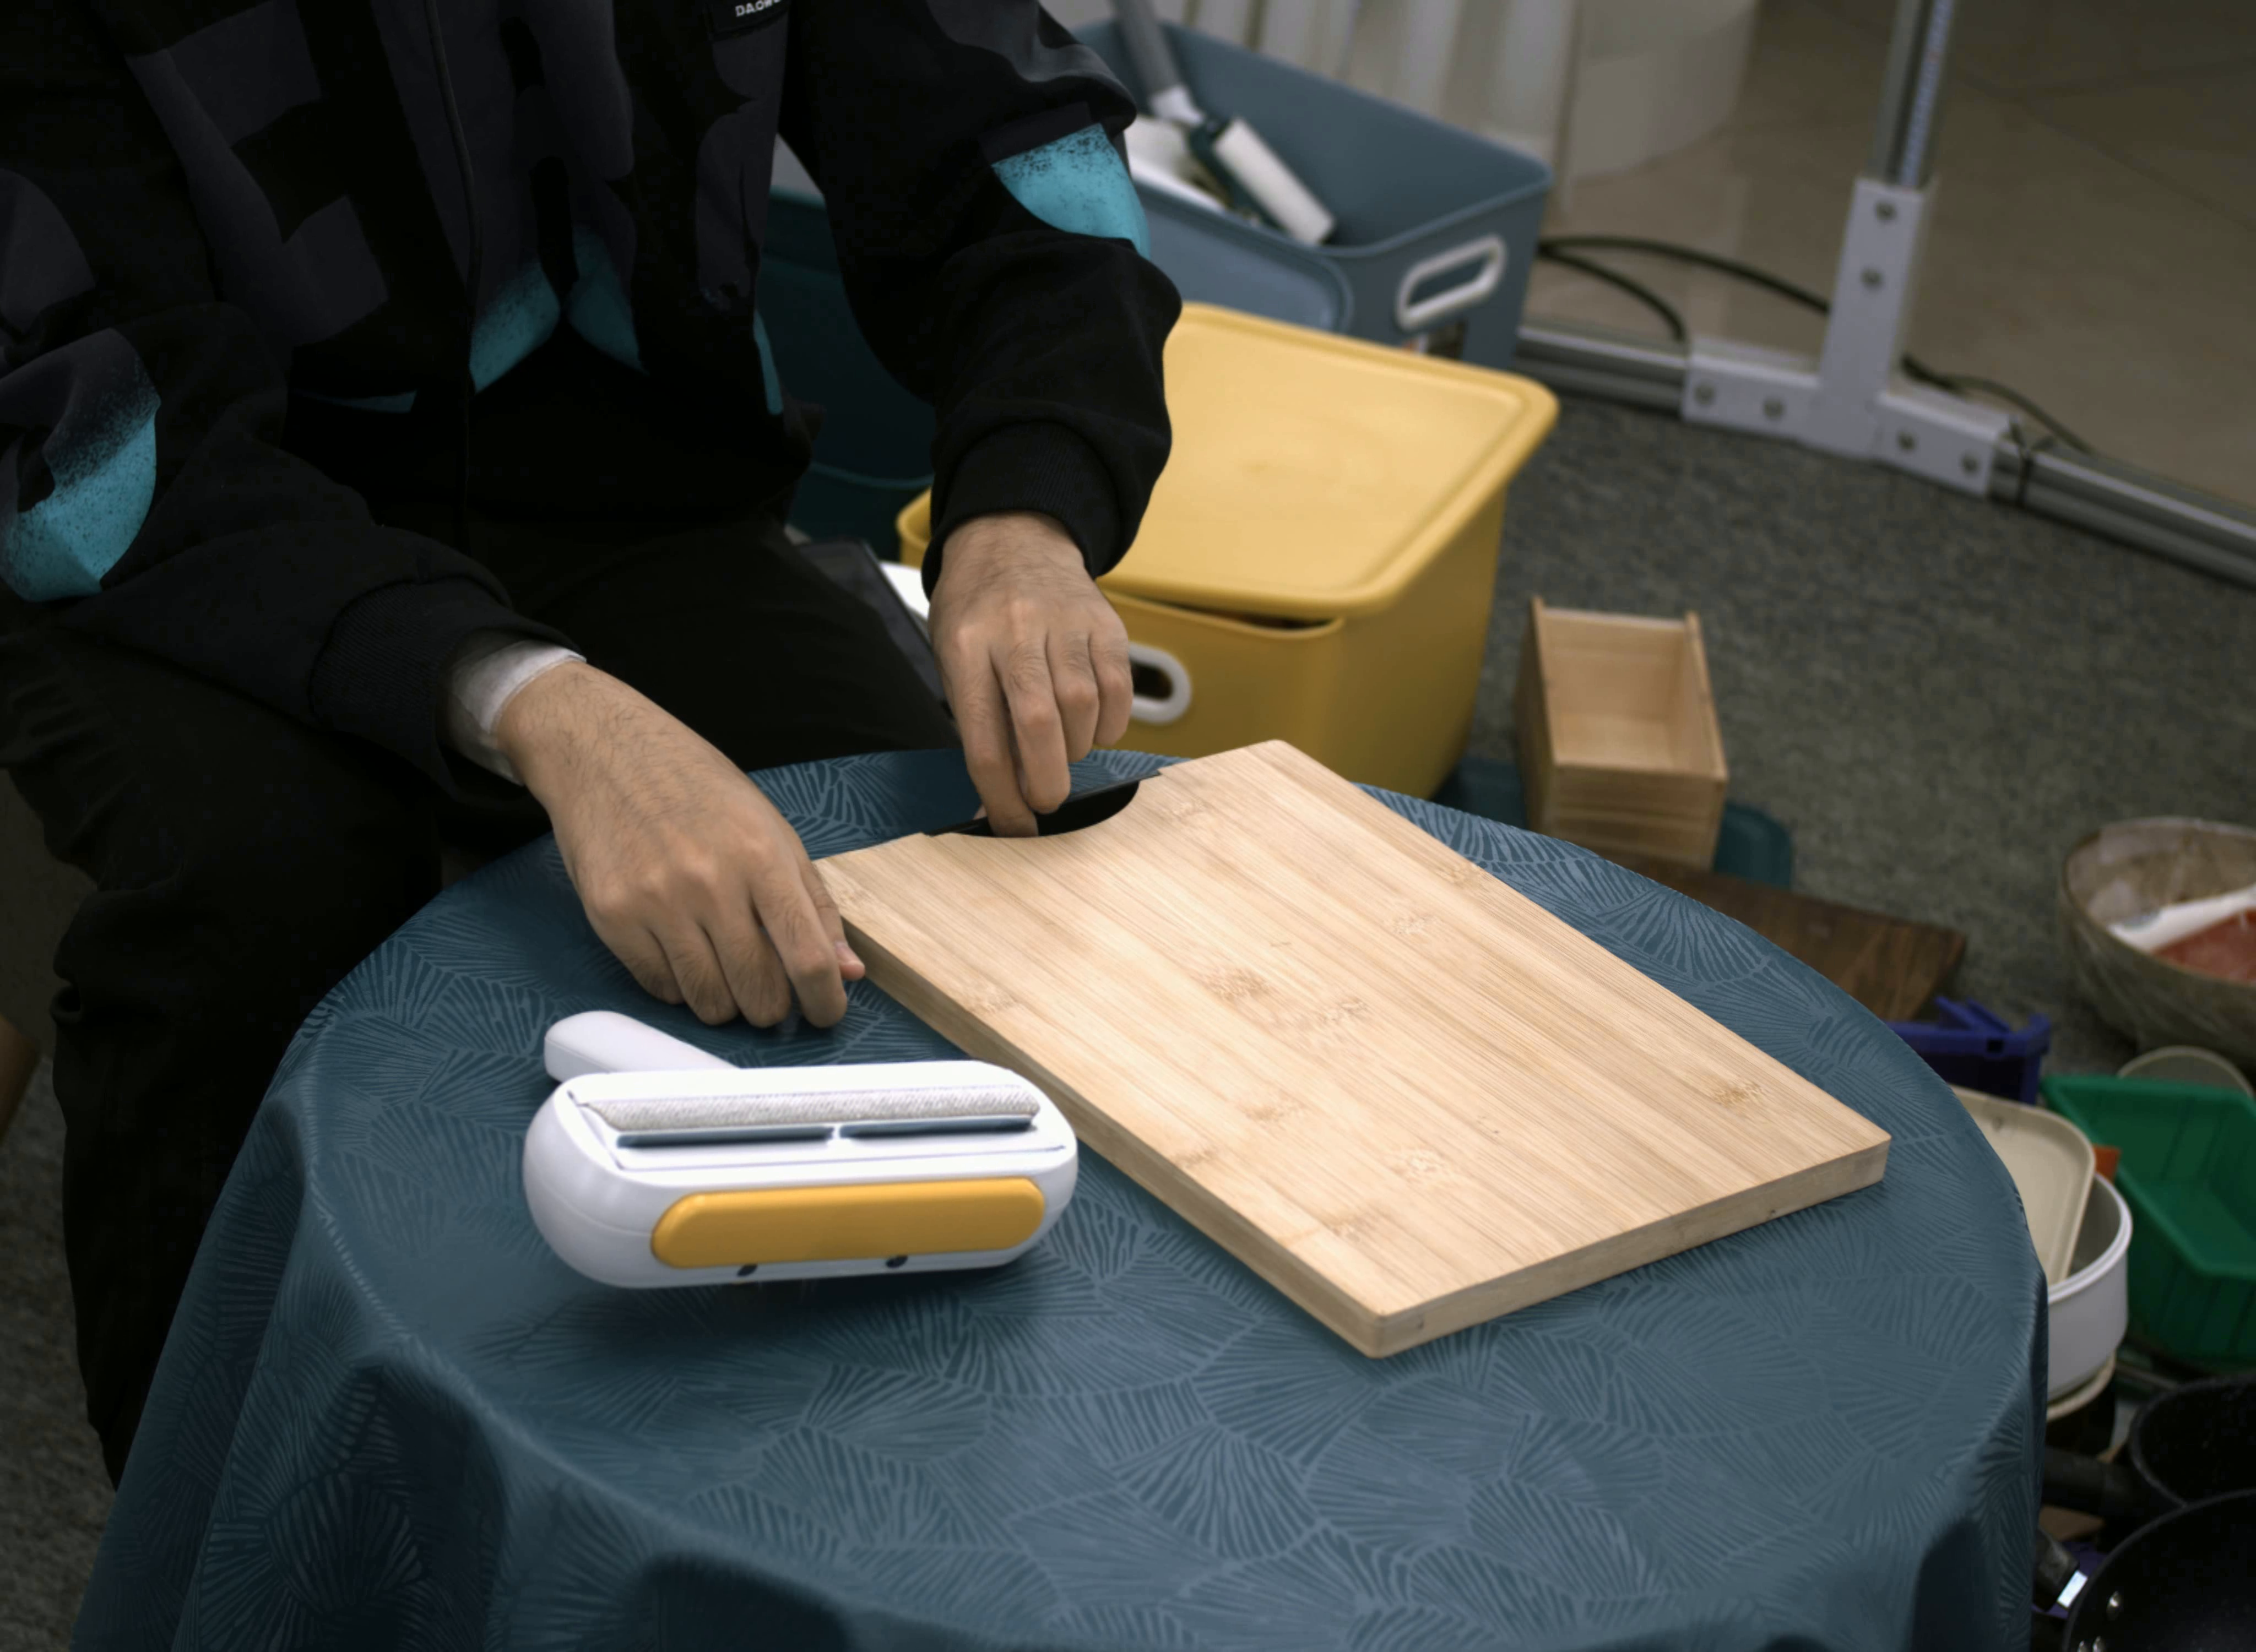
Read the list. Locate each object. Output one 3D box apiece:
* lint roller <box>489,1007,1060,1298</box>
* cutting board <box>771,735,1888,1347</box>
[{"bbox_3d":[-0.140,0.093,1.753,0.191,0.074,0.194,-3,26,-29],"label":"lint roller"},{"bbox_3d":[0.066,0.069,1.904,0.249,0.023,0.351,-15,34,-36],"label":"cutting board"}]
